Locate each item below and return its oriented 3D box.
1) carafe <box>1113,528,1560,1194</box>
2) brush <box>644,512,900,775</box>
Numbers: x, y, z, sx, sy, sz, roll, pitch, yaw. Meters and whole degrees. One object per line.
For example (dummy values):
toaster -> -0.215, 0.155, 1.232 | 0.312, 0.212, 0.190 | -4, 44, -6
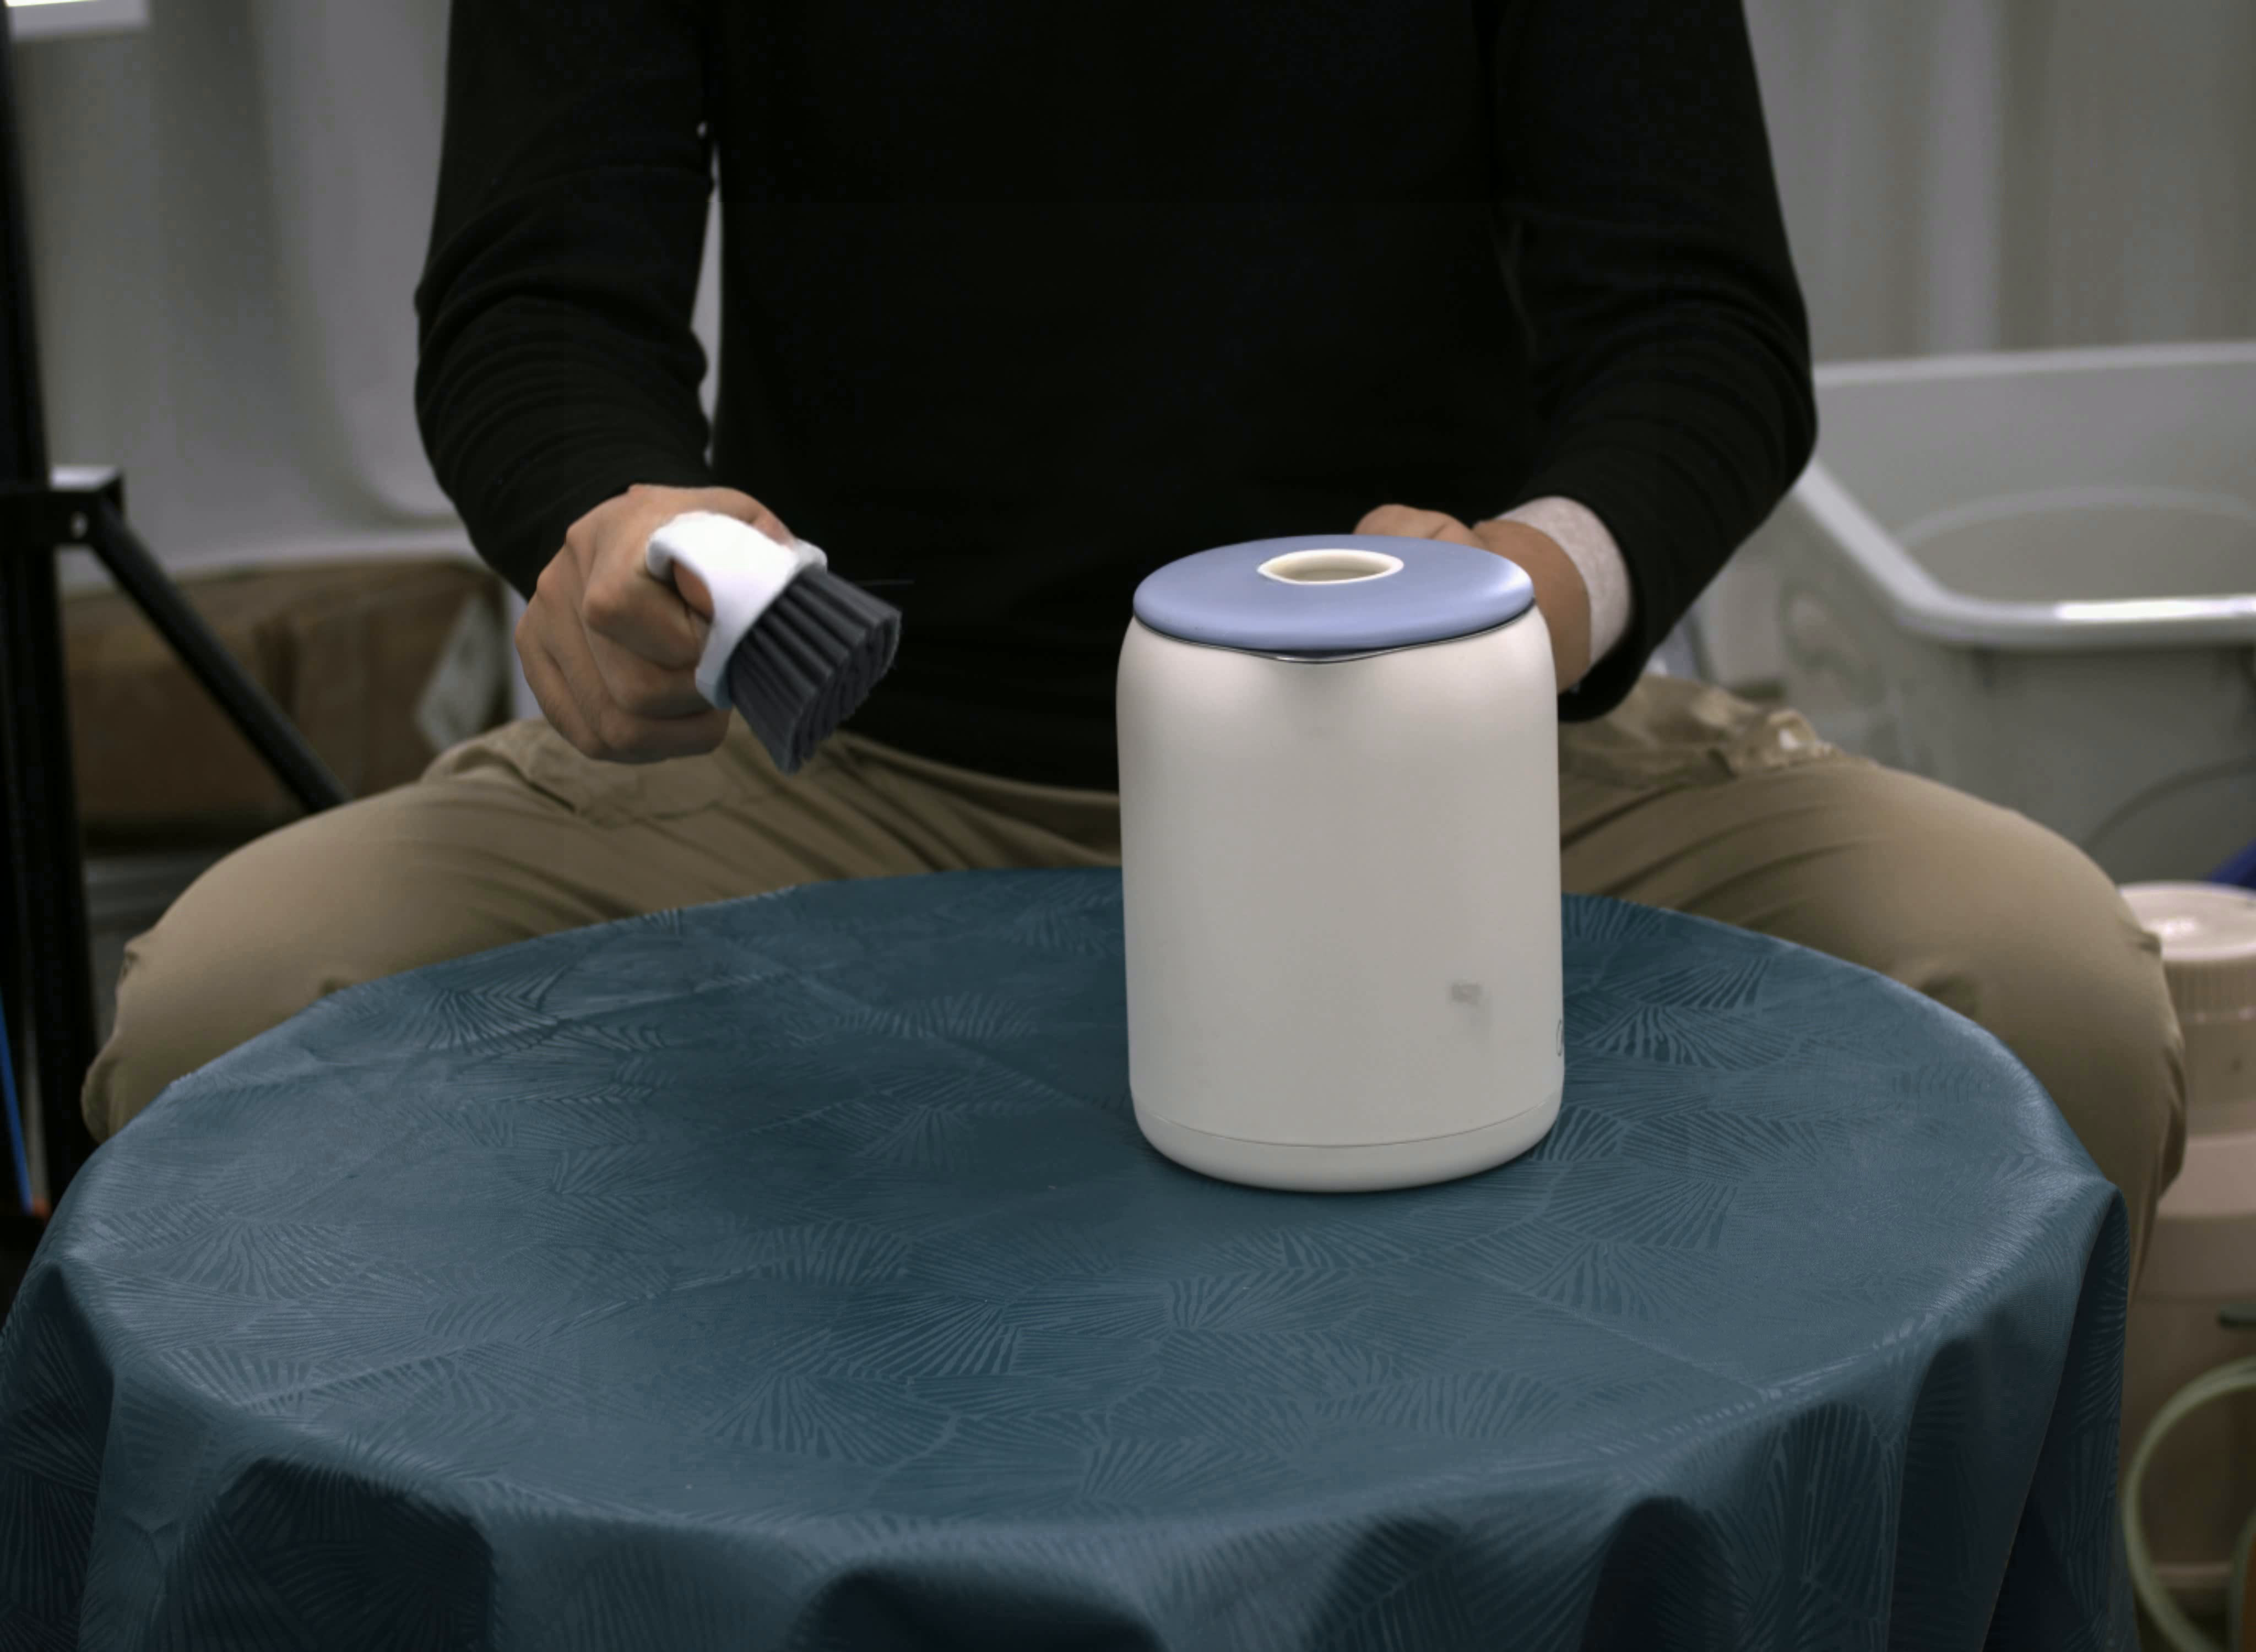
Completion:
carafe -> 0.064, 0.003, 1.604 | 0.132, 0.182, 0.191 | -1, 14, 4
brush -> -0.109, -0.060, 1.553 | 0.073, 0.050, 0.099 | 40, -9, 5
